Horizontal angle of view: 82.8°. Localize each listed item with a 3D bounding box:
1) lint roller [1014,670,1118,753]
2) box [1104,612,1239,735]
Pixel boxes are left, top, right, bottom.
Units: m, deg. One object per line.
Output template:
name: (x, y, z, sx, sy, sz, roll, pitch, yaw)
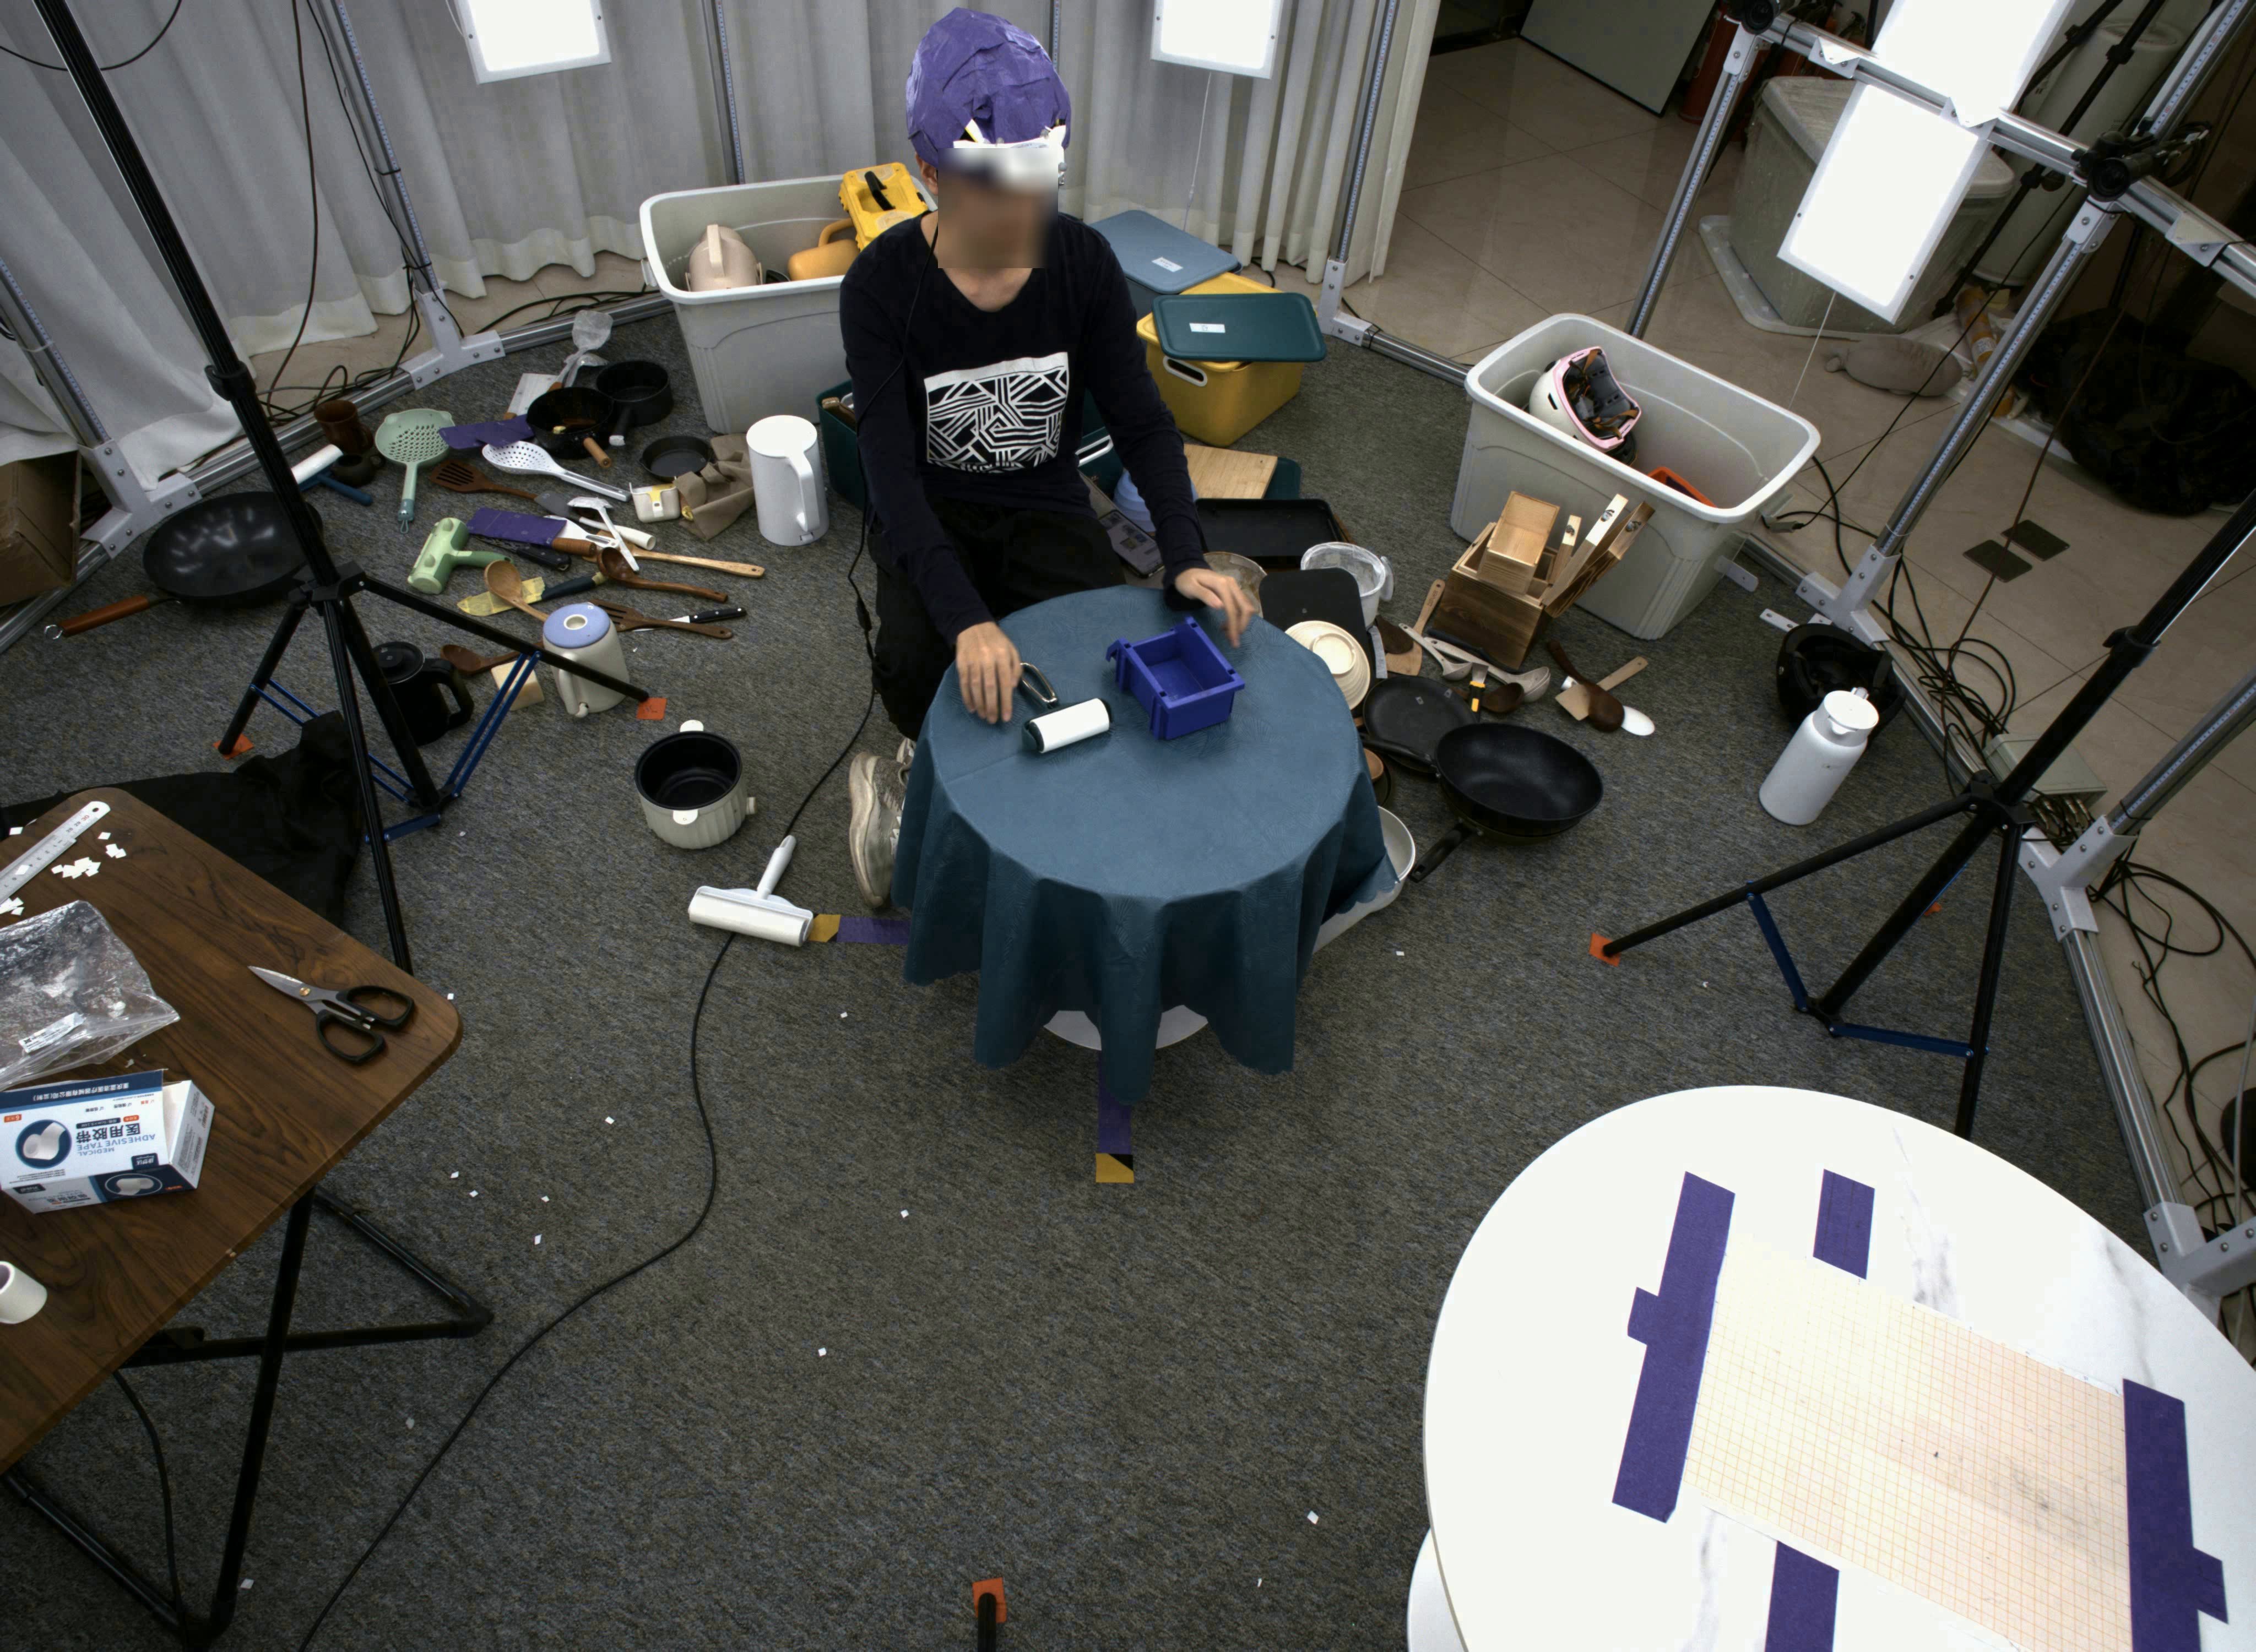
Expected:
lint roller: (-0.113, -0.181, 1.792, 0.134, 0.047, 0.184, -21, 49, -20)
box: (0.057, -0.220, 1.809, 0.124, 0.080, 0.183, -19, 55, -18)
